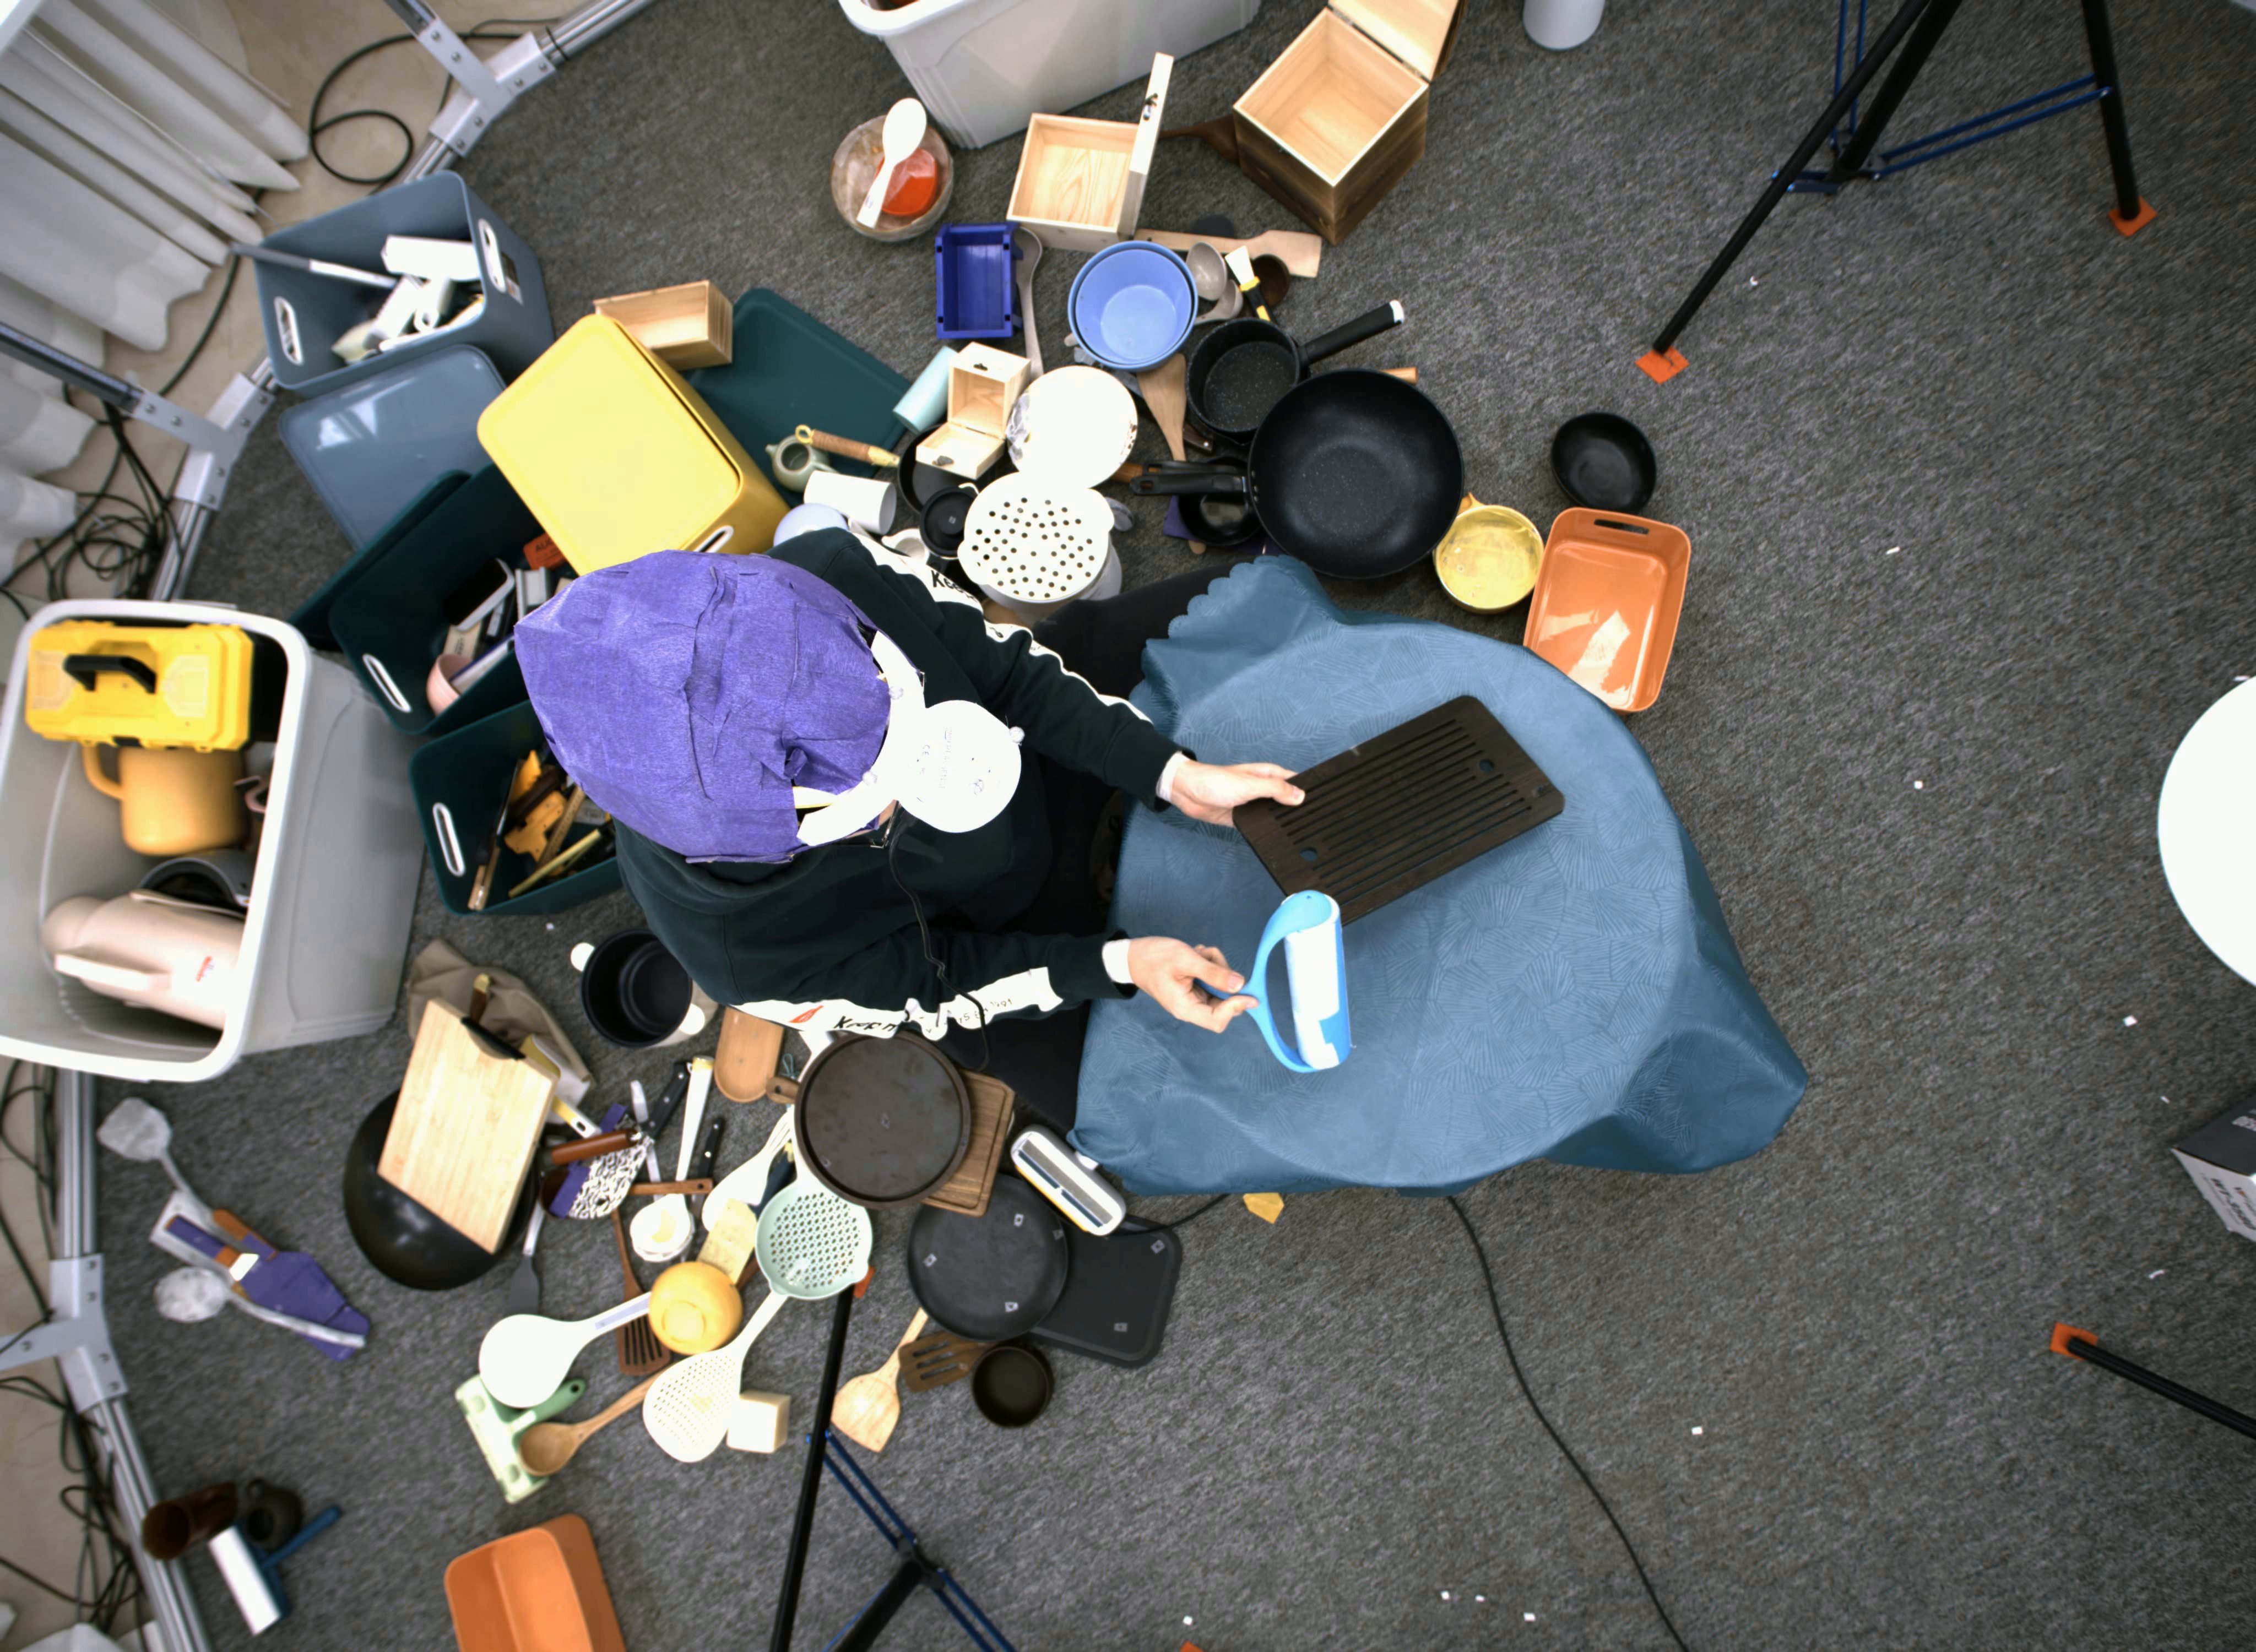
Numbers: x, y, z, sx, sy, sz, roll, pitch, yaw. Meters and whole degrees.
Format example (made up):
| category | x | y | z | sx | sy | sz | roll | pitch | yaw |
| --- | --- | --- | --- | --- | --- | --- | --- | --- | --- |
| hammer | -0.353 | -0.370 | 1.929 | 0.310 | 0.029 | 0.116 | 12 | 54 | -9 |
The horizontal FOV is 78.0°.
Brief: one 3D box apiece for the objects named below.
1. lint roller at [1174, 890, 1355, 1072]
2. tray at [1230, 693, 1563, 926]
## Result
| category | x | y | z | sx | sy | sz | roll | pitch | yaw |
| --- | --- | --- | --- | --- | --- | --- | --- | --- | --- |
| lint roller | 0.126 | 0.148 | 1.335 | 0.181 | 0.234 | 0.066 | 1 | 44 | 19 |
| tray | 0.269 | -0.018 | 1.380 | 0.304 | 0.019 | 0.167 | -26 | 61 | -13 |
